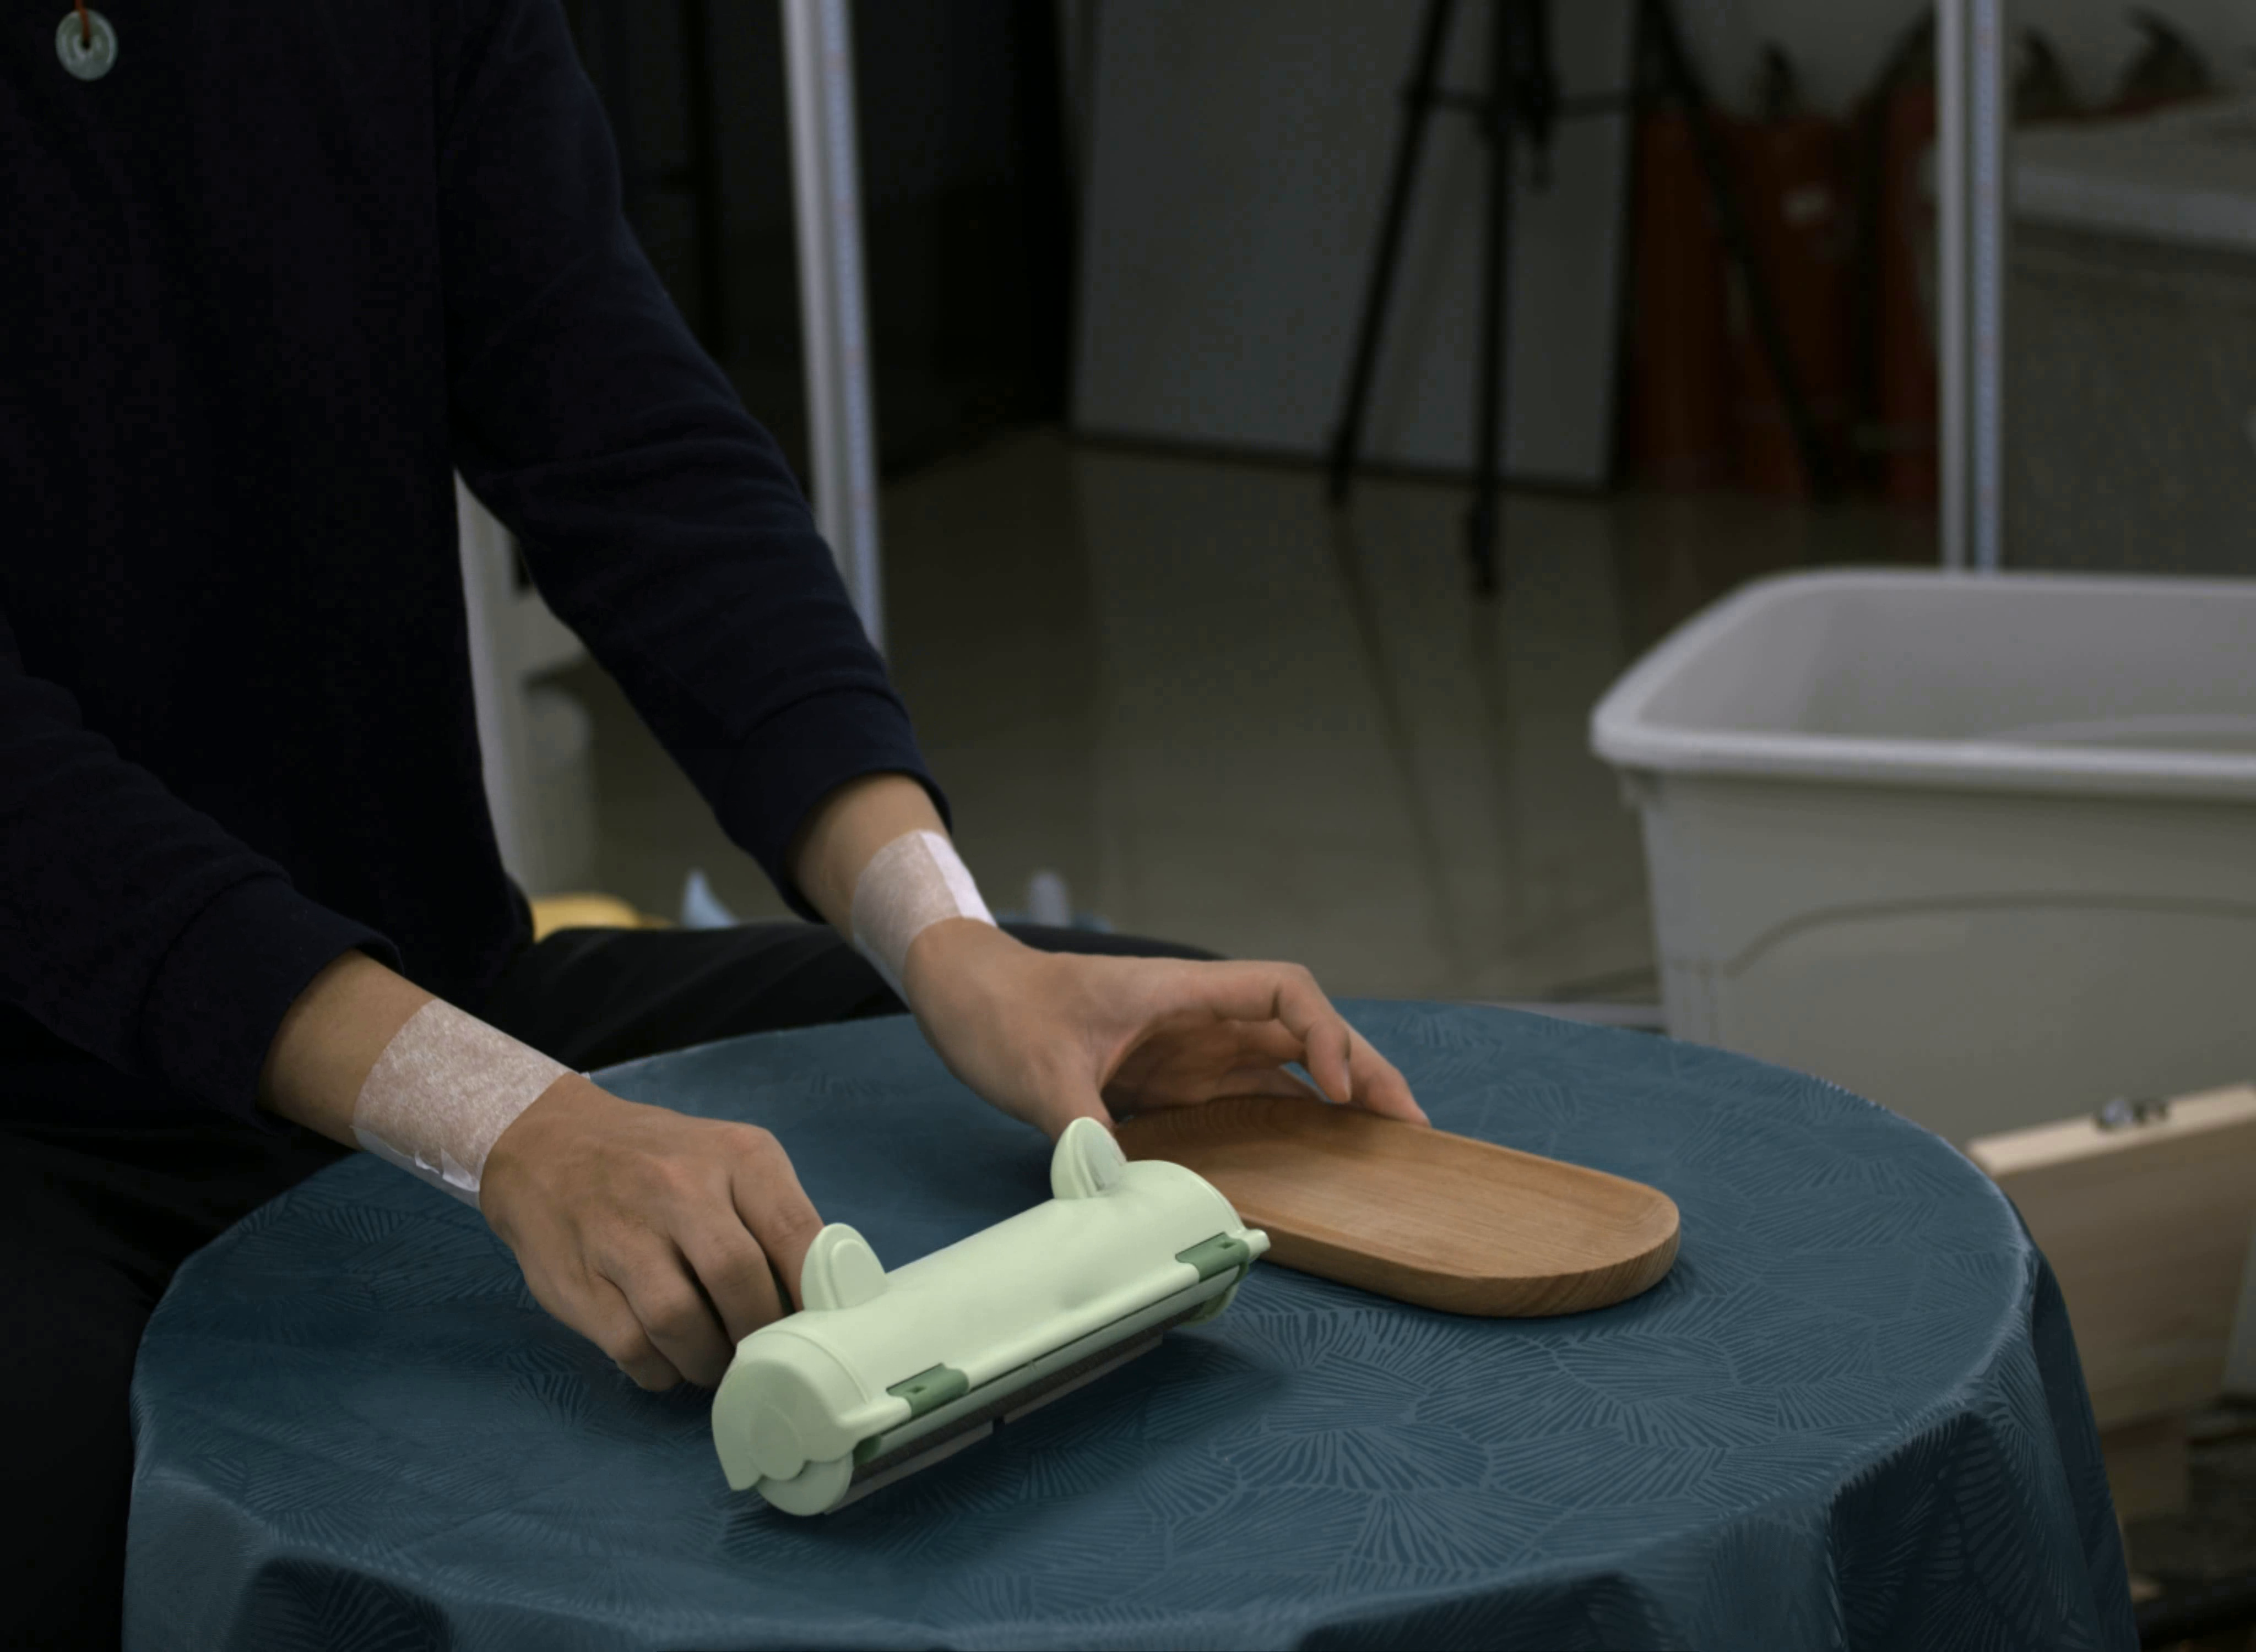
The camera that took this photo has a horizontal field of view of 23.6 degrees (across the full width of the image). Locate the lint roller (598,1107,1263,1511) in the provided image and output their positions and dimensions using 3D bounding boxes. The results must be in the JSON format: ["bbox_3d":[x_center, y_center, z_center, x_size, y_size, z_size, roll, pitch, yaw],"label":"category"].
[{"bbox_3d":[-0.085,0.124,1.587,0.184,0.083,0.195,16,22,34],"label":"lint roller"}]

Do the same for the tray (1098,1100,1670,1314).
[{"bbox_3d":[0.075,0.120,1.717,0.099,0.020,0.233,-16,16,-39],"label":"tray"}]
